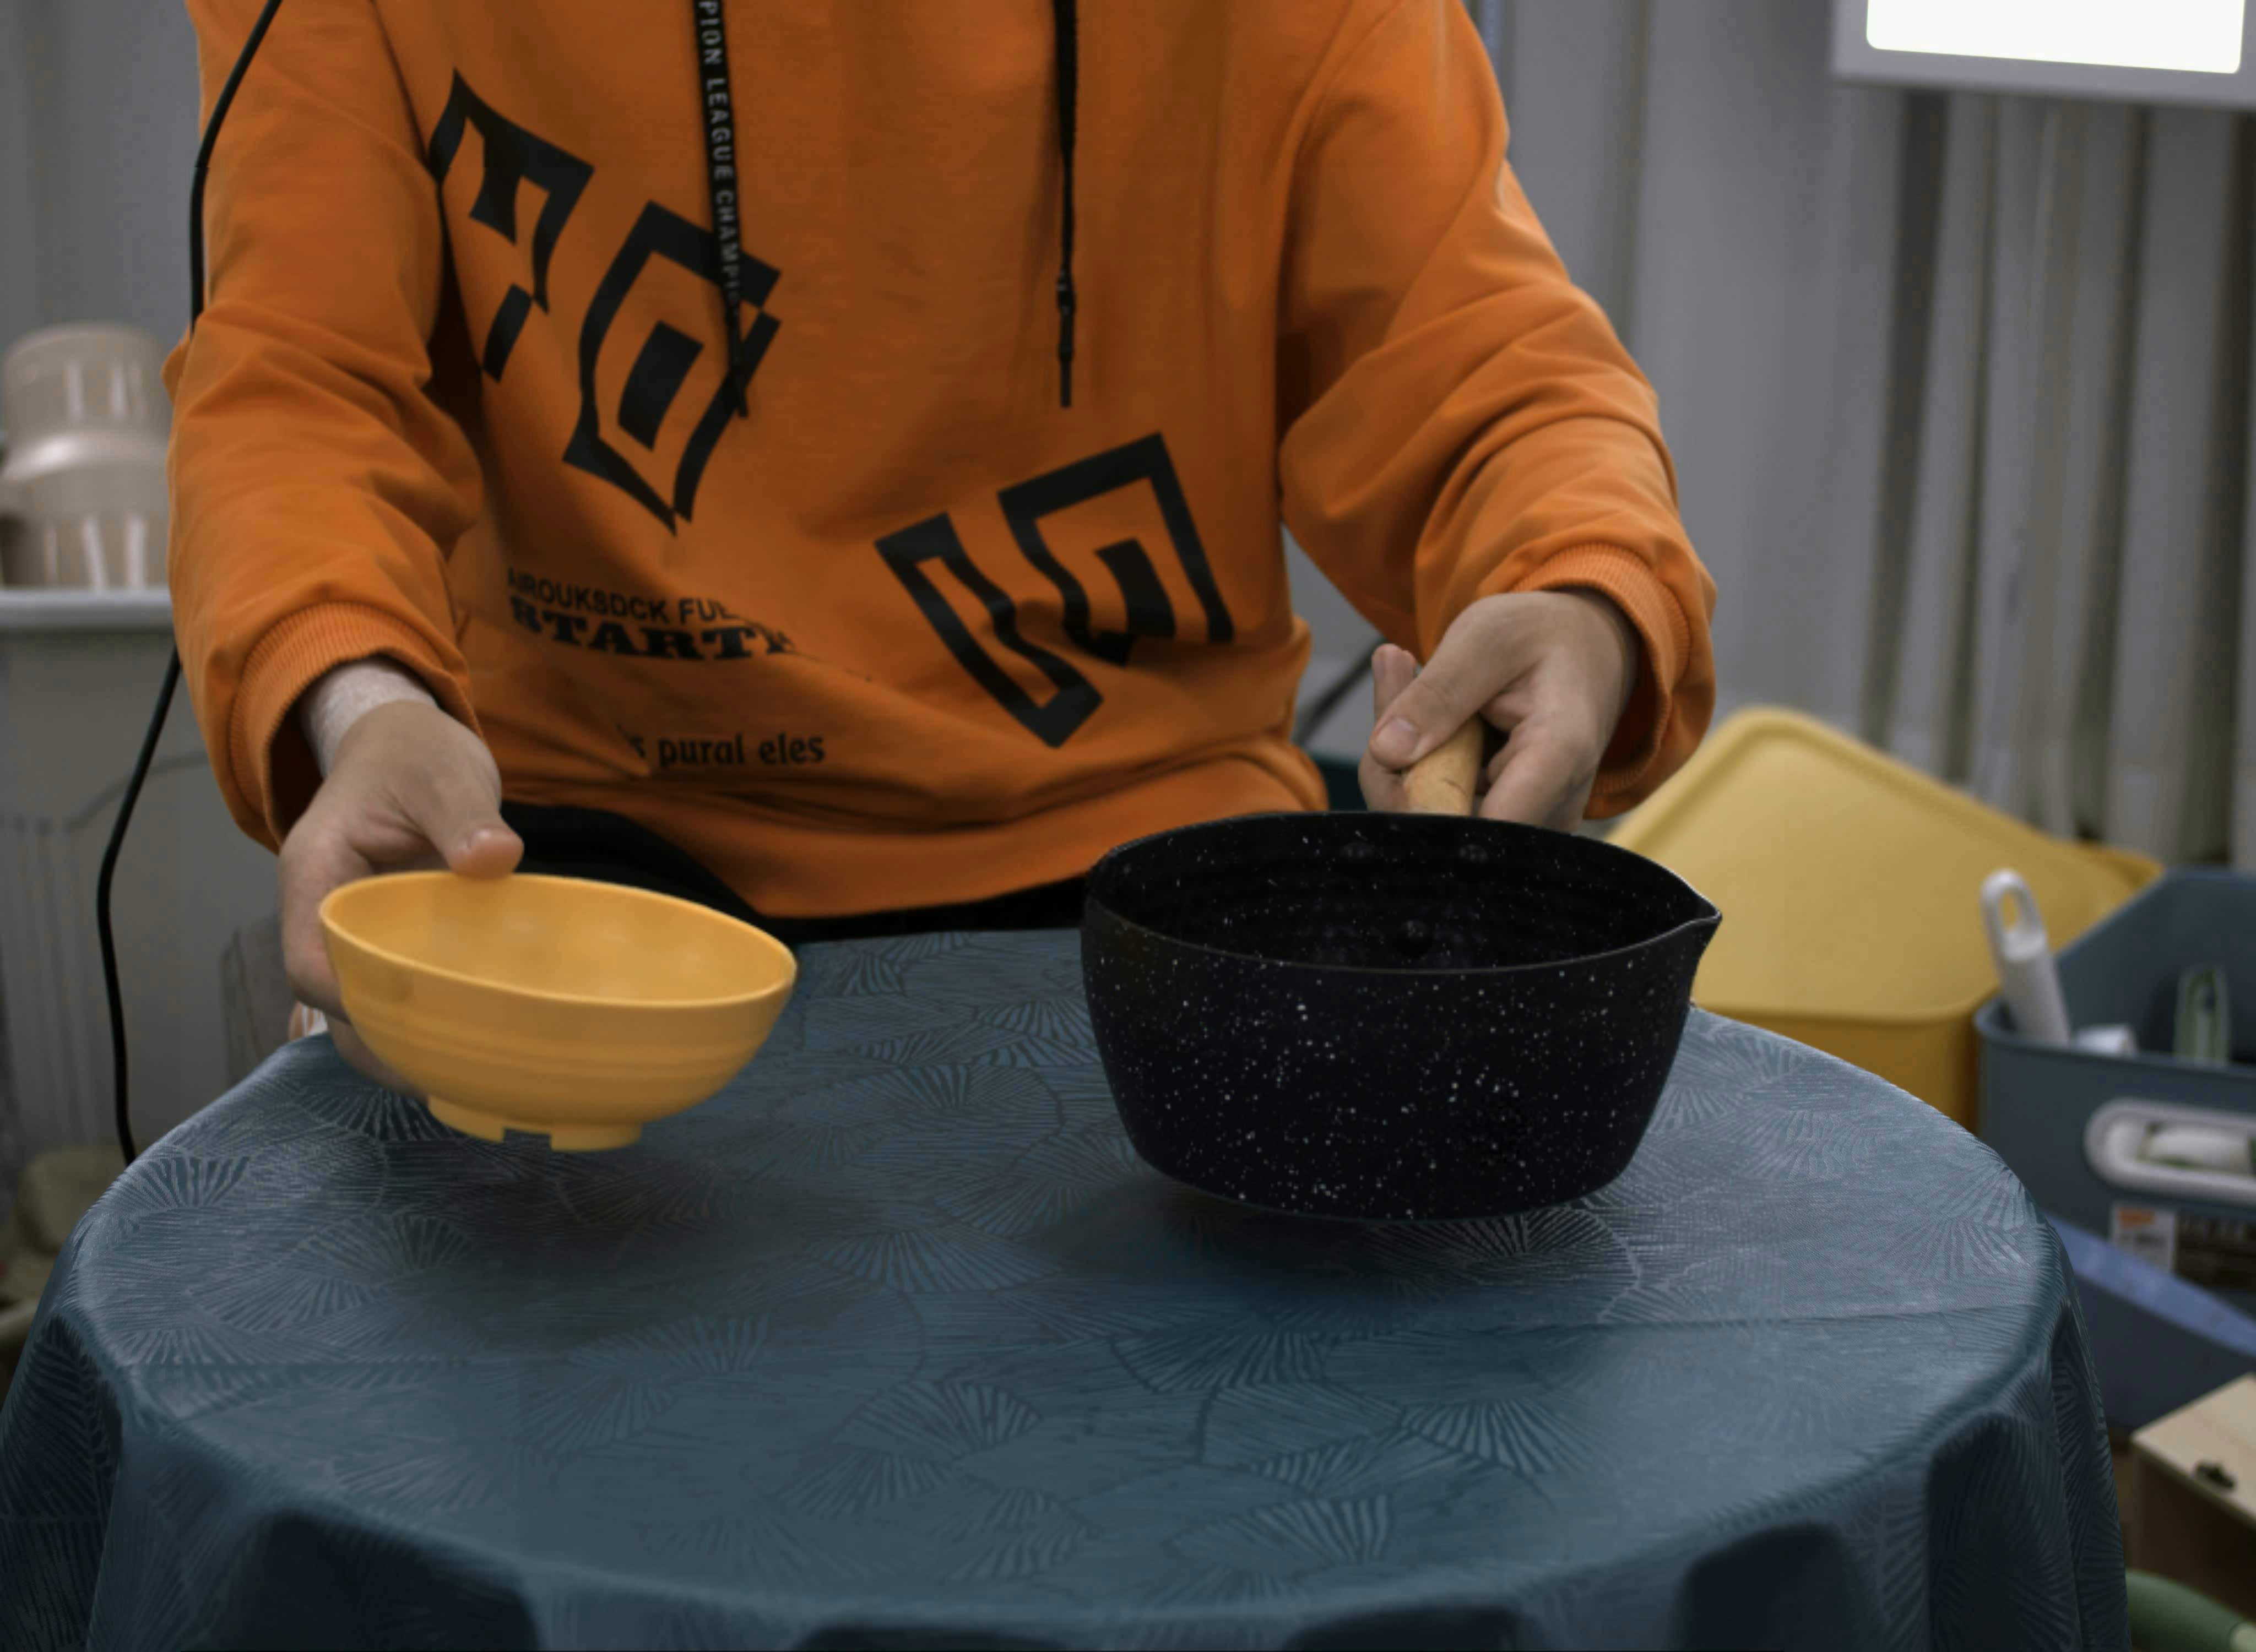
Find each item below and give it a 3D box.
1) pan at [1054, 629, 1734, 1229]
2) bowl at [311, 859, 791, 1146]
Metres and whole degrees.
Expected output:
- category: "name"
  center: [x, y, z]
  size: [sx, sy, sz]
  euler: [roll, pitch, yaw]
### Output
- category: "pan"
  center: [0.088, 0.027, 1.664]
  size: [0.206, 0.109, 0.342]
  euler: [2, 16, 7]
- category: "bowl"
  center: [-0.177, 0.058, 1.577]
  size: [0.145, 0.060, 0.145]
  euler: [11, 11, -2]
